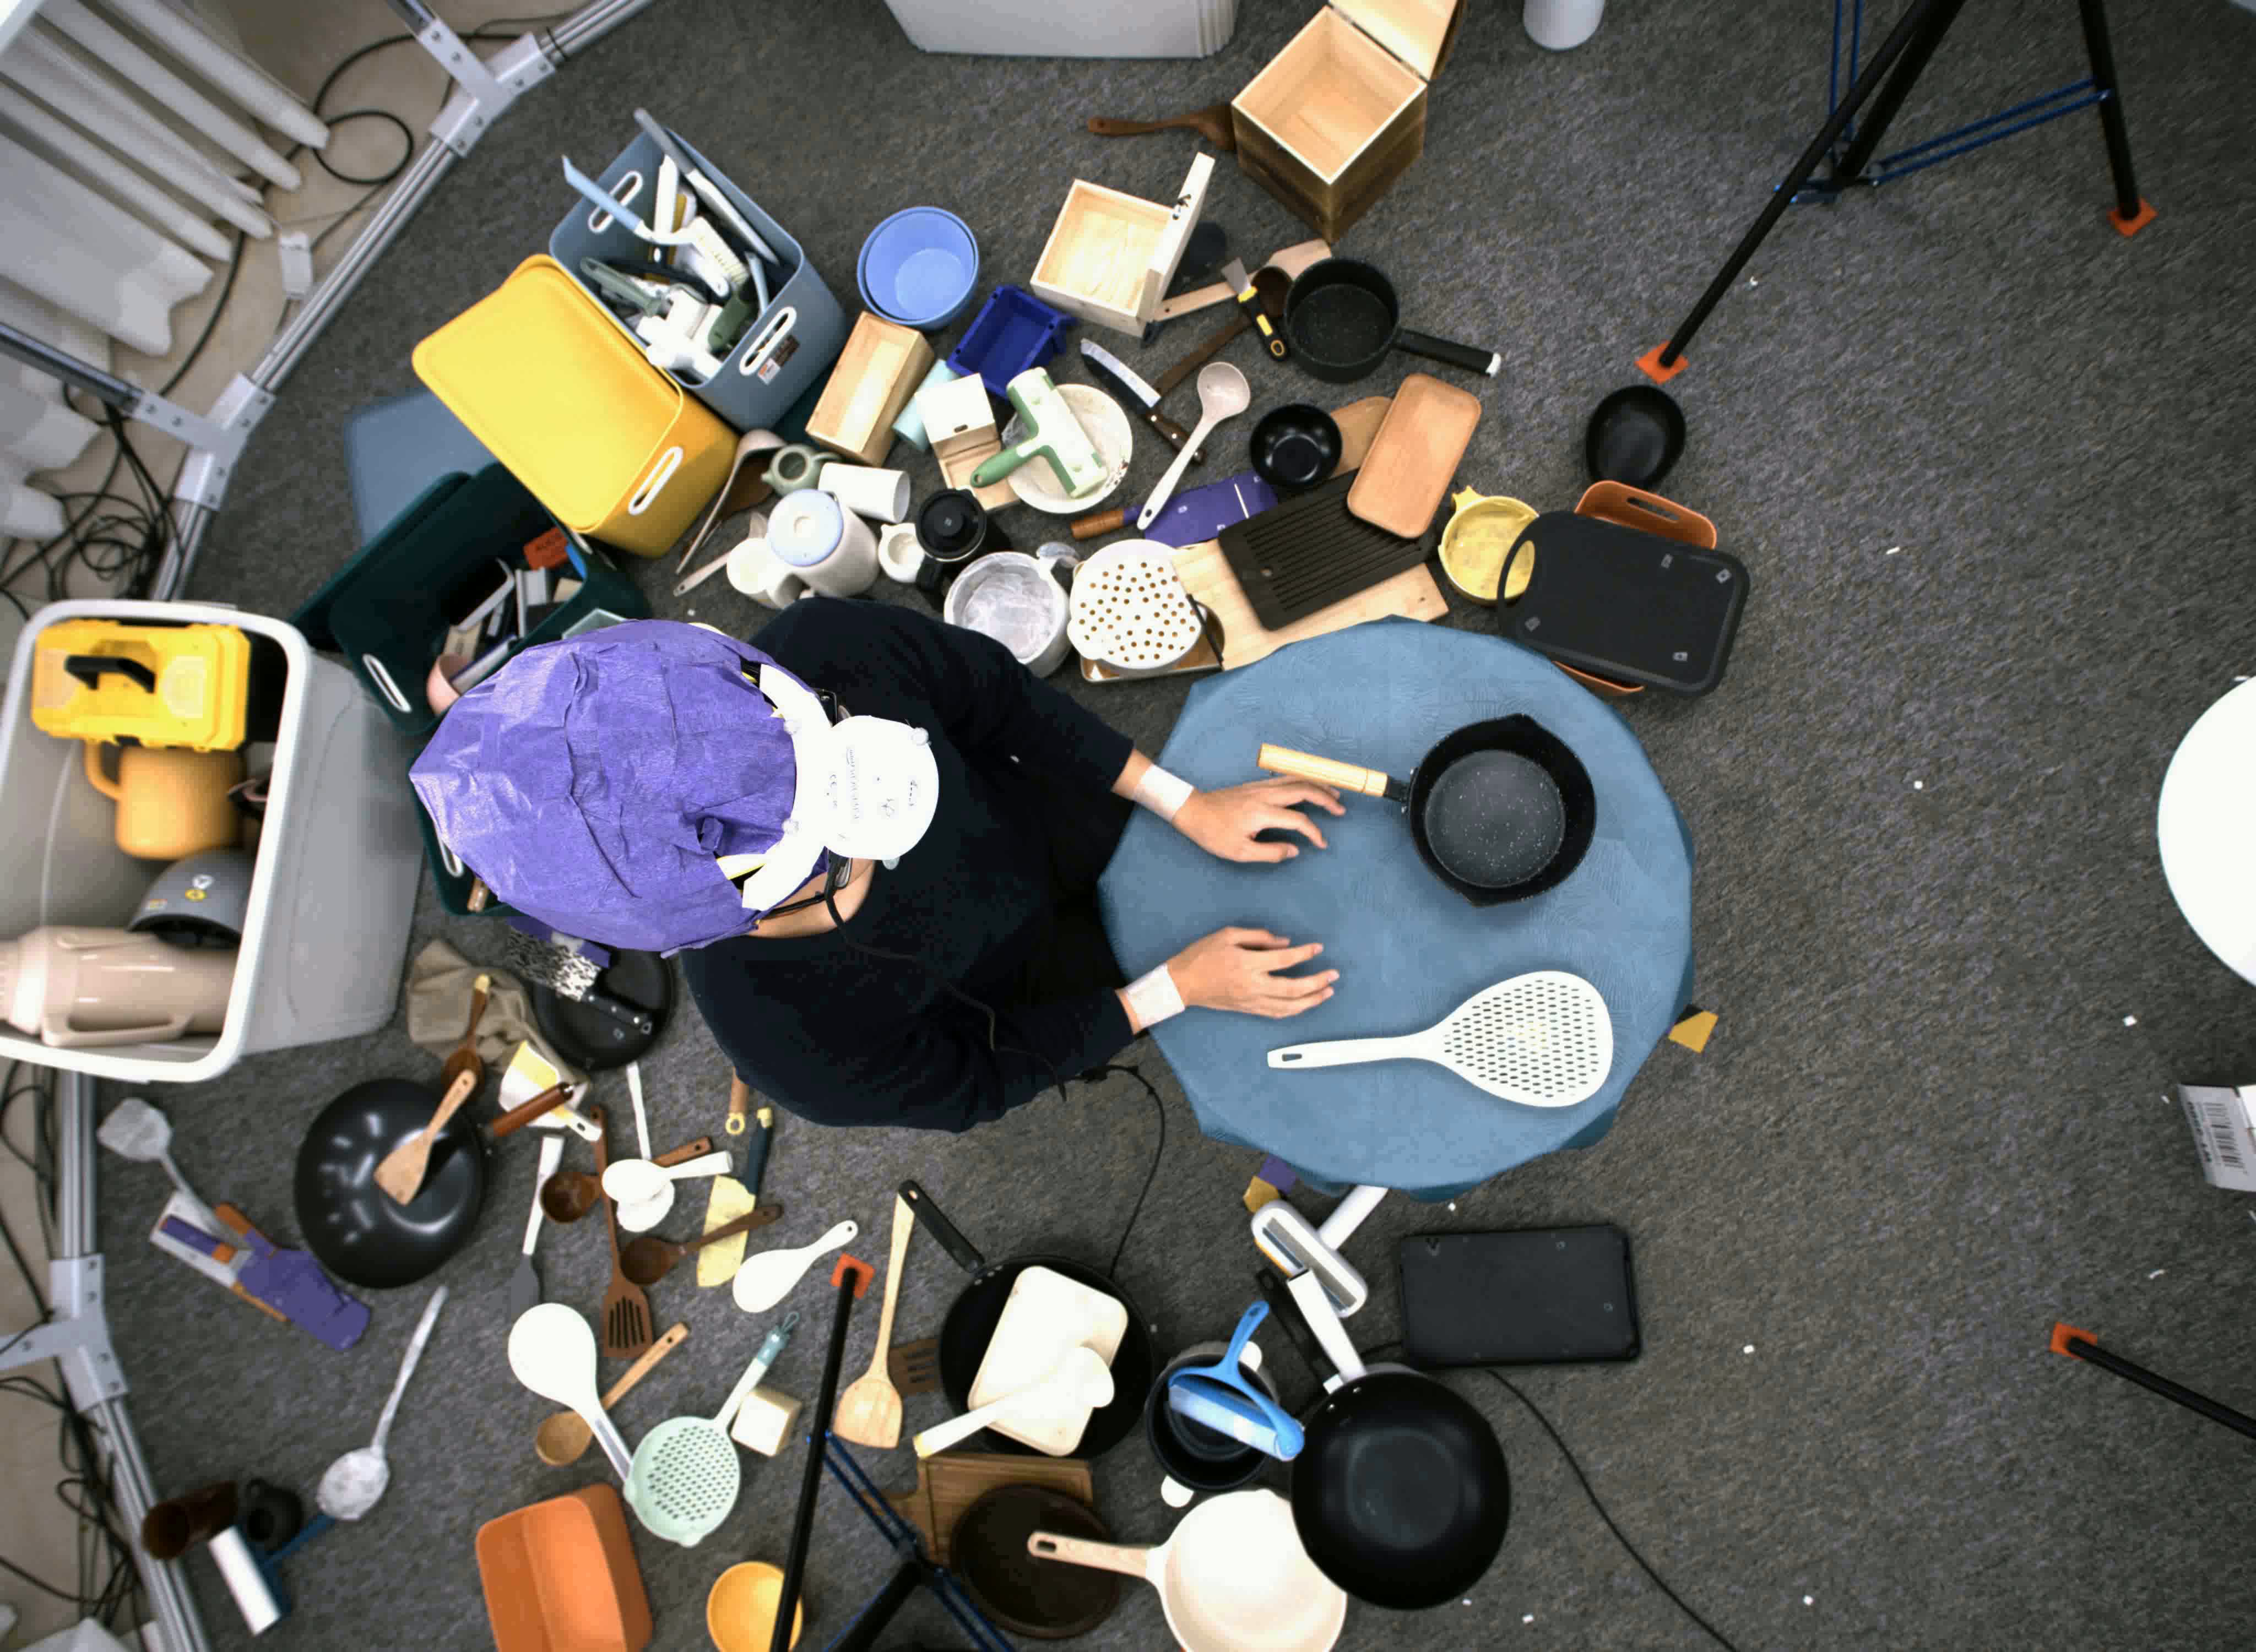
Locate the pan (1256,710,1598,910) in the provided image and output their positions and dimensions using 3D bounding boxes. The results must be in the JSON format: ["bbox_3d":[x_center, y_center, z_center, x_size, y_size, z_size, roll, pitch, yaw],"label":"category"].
[{"bbox_3d":[0.299,-0.030,1.406,0.343,0.108,0.207,12,89,10],"label":"pan"}]

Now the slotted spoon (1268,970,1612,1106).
[{"bbox_3d":[0.316,0.225,1.421,0.349,0.050,0.136,-7,87,9],"label":"slotted spoon"}]
